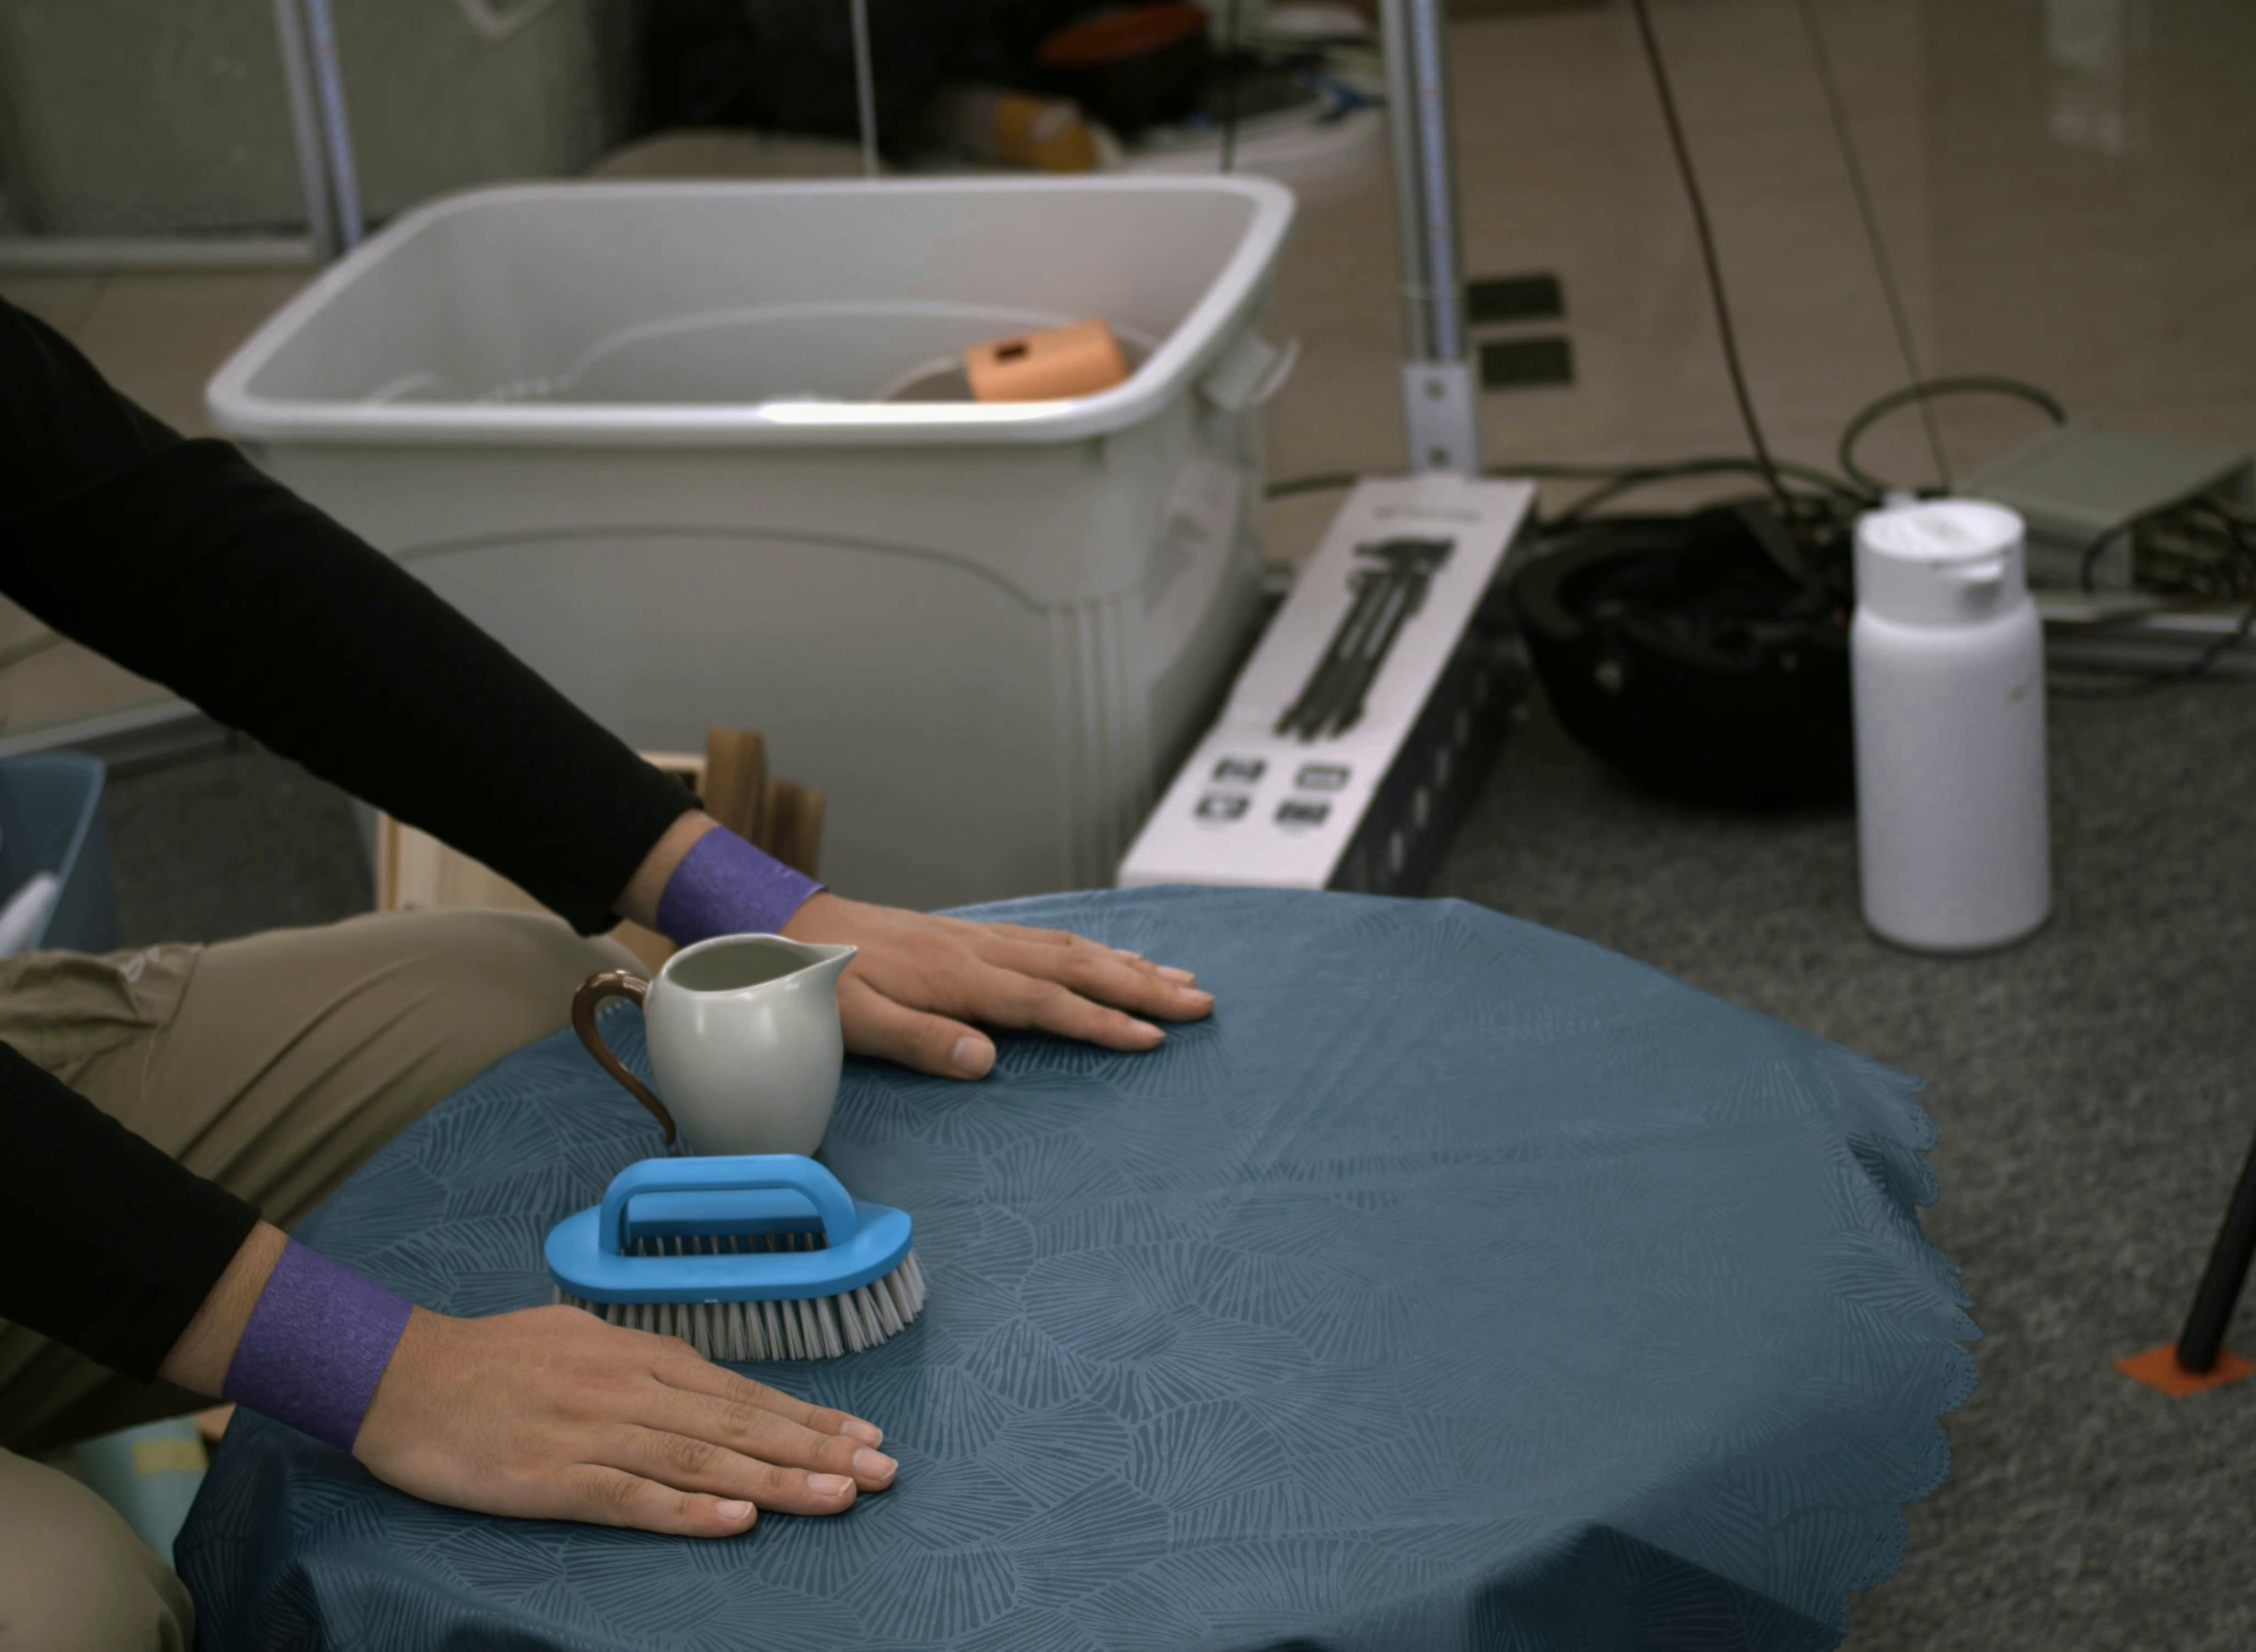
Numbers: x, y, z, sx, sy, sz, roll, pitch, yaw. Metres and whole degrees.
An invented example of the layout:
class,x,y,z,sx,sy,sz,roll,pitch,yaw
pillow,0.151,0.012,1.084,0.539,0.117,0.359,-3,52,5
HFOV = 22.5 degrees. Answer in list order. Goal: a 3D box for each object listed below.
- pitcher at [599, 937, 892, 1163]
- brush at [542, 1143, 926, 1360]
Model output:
class,x,y,z,sx,sy,sz,roll,pitch,yaw
pitcher,-0.147,0.088,2.188,0.119,0.089,0.075,4,22,14
brush,-0.148,0.148,2.084,0.141,0.065,0.083,-2,30,11
